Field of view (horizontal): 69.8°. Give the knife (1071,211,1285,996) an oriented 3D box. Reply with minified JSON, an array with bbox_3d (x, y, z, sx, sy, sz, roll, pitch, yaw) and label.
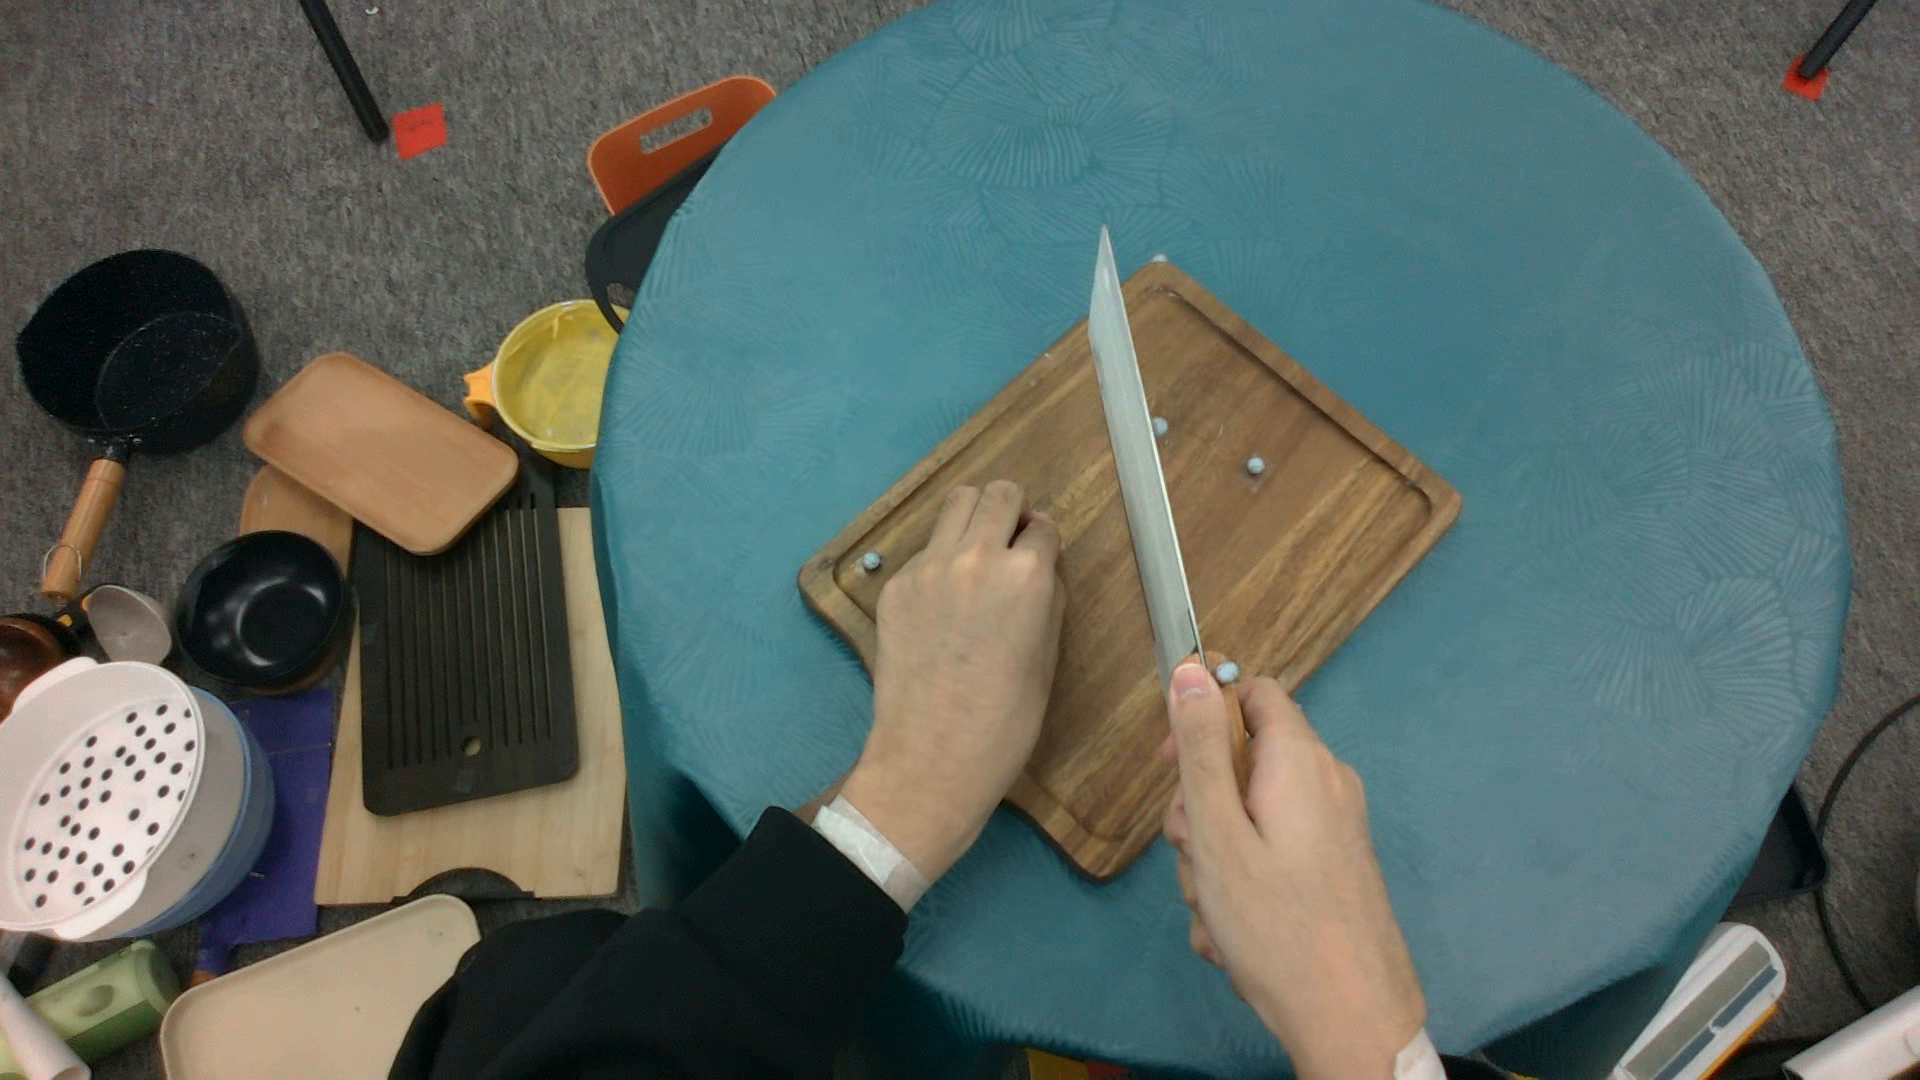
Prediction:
[{"bbox_3d":[0.075,0.020,0.538,0.021,0.092,0.306,-9,70,-3],"label":"knife"}]

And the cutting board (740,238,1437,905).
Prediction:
[{"bbox_3d":[0.036,0.026,0.619,0.201,0.023,0.353,42,72,14],"label":"cutting board"}]
